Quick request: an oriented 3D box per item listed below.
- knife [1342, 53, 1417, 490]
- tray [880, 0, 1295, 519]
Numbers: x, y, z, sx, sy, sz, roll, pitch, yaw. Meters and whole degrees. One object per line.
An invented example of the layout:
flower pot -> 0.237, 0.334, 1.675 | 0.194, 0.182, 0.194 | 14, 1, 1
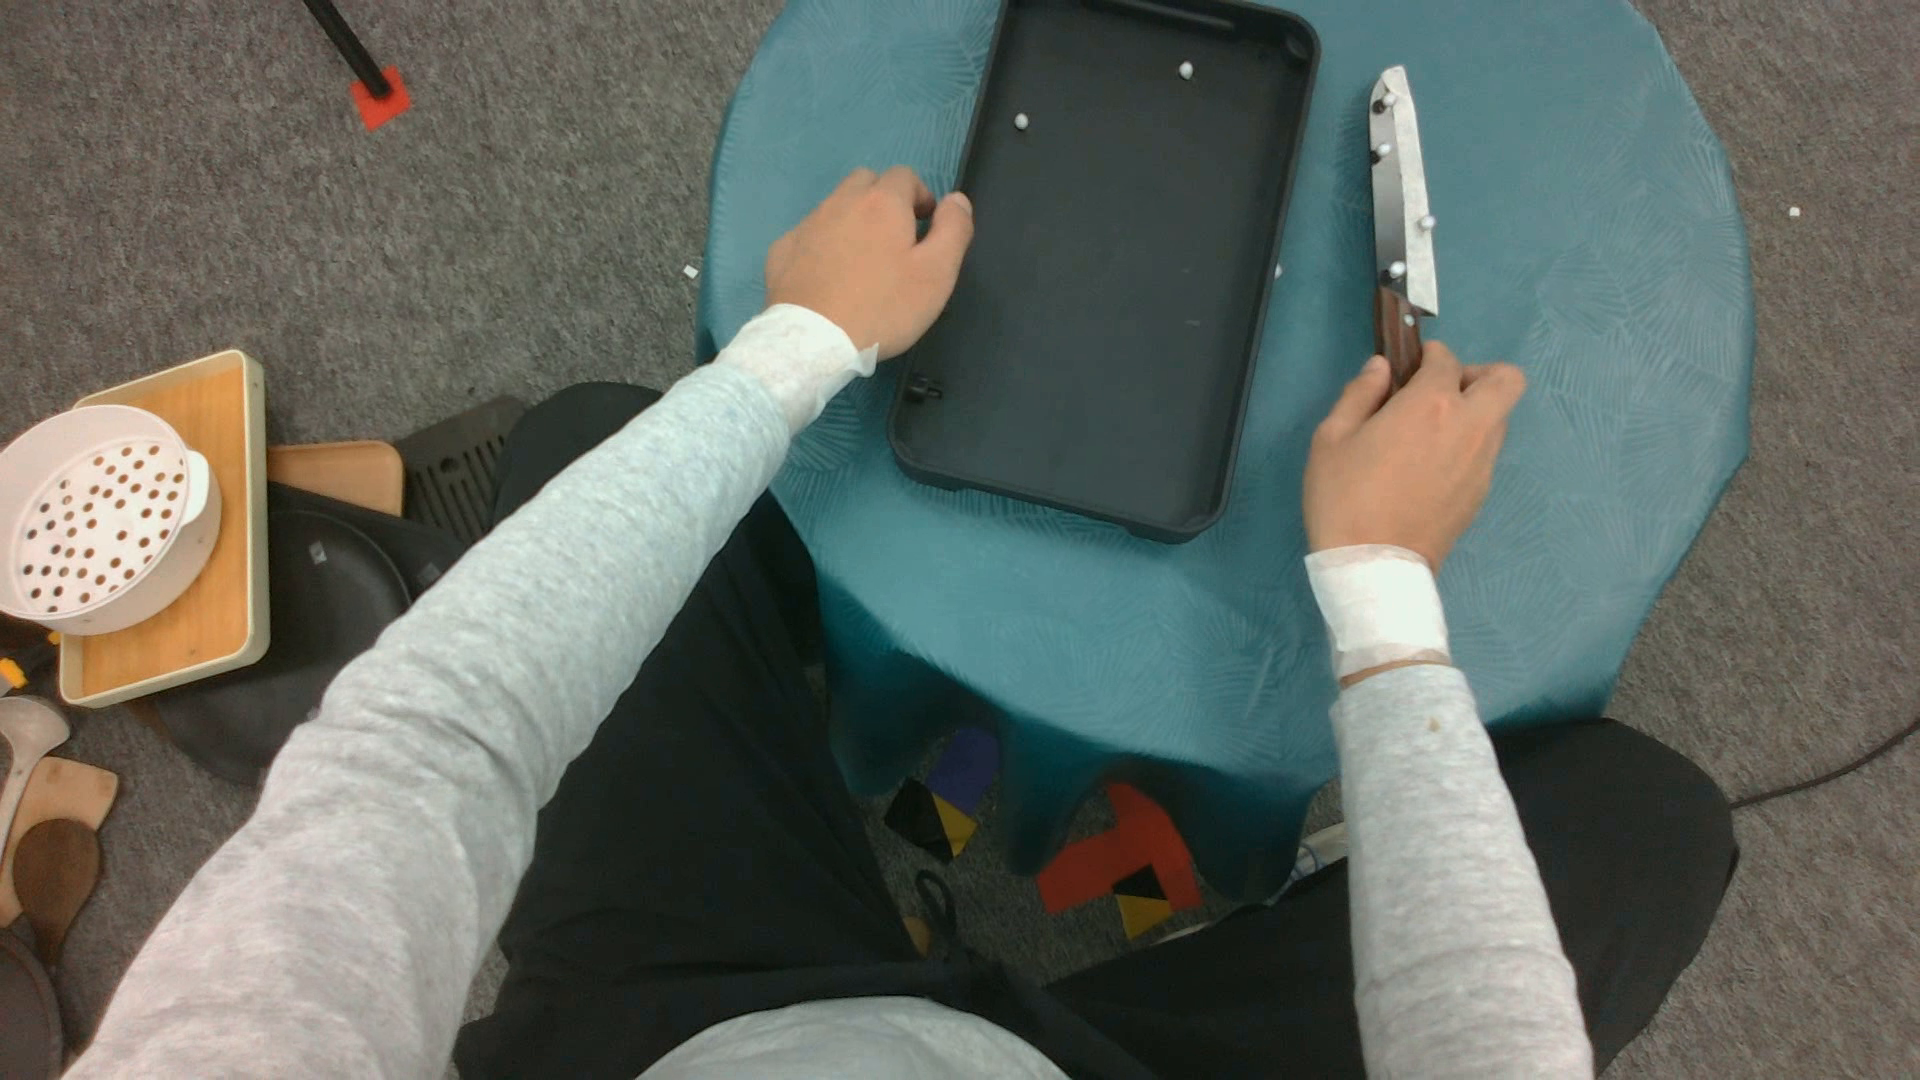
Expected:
knife -> 0.233, -0.158, 0.764 | 0.050, 0.020, 0.290 | 18, 64, -27
tray -> 0.075, -0.177, 0.767 | 0.184, 0.037, 0.319 | 12, 75, 0
